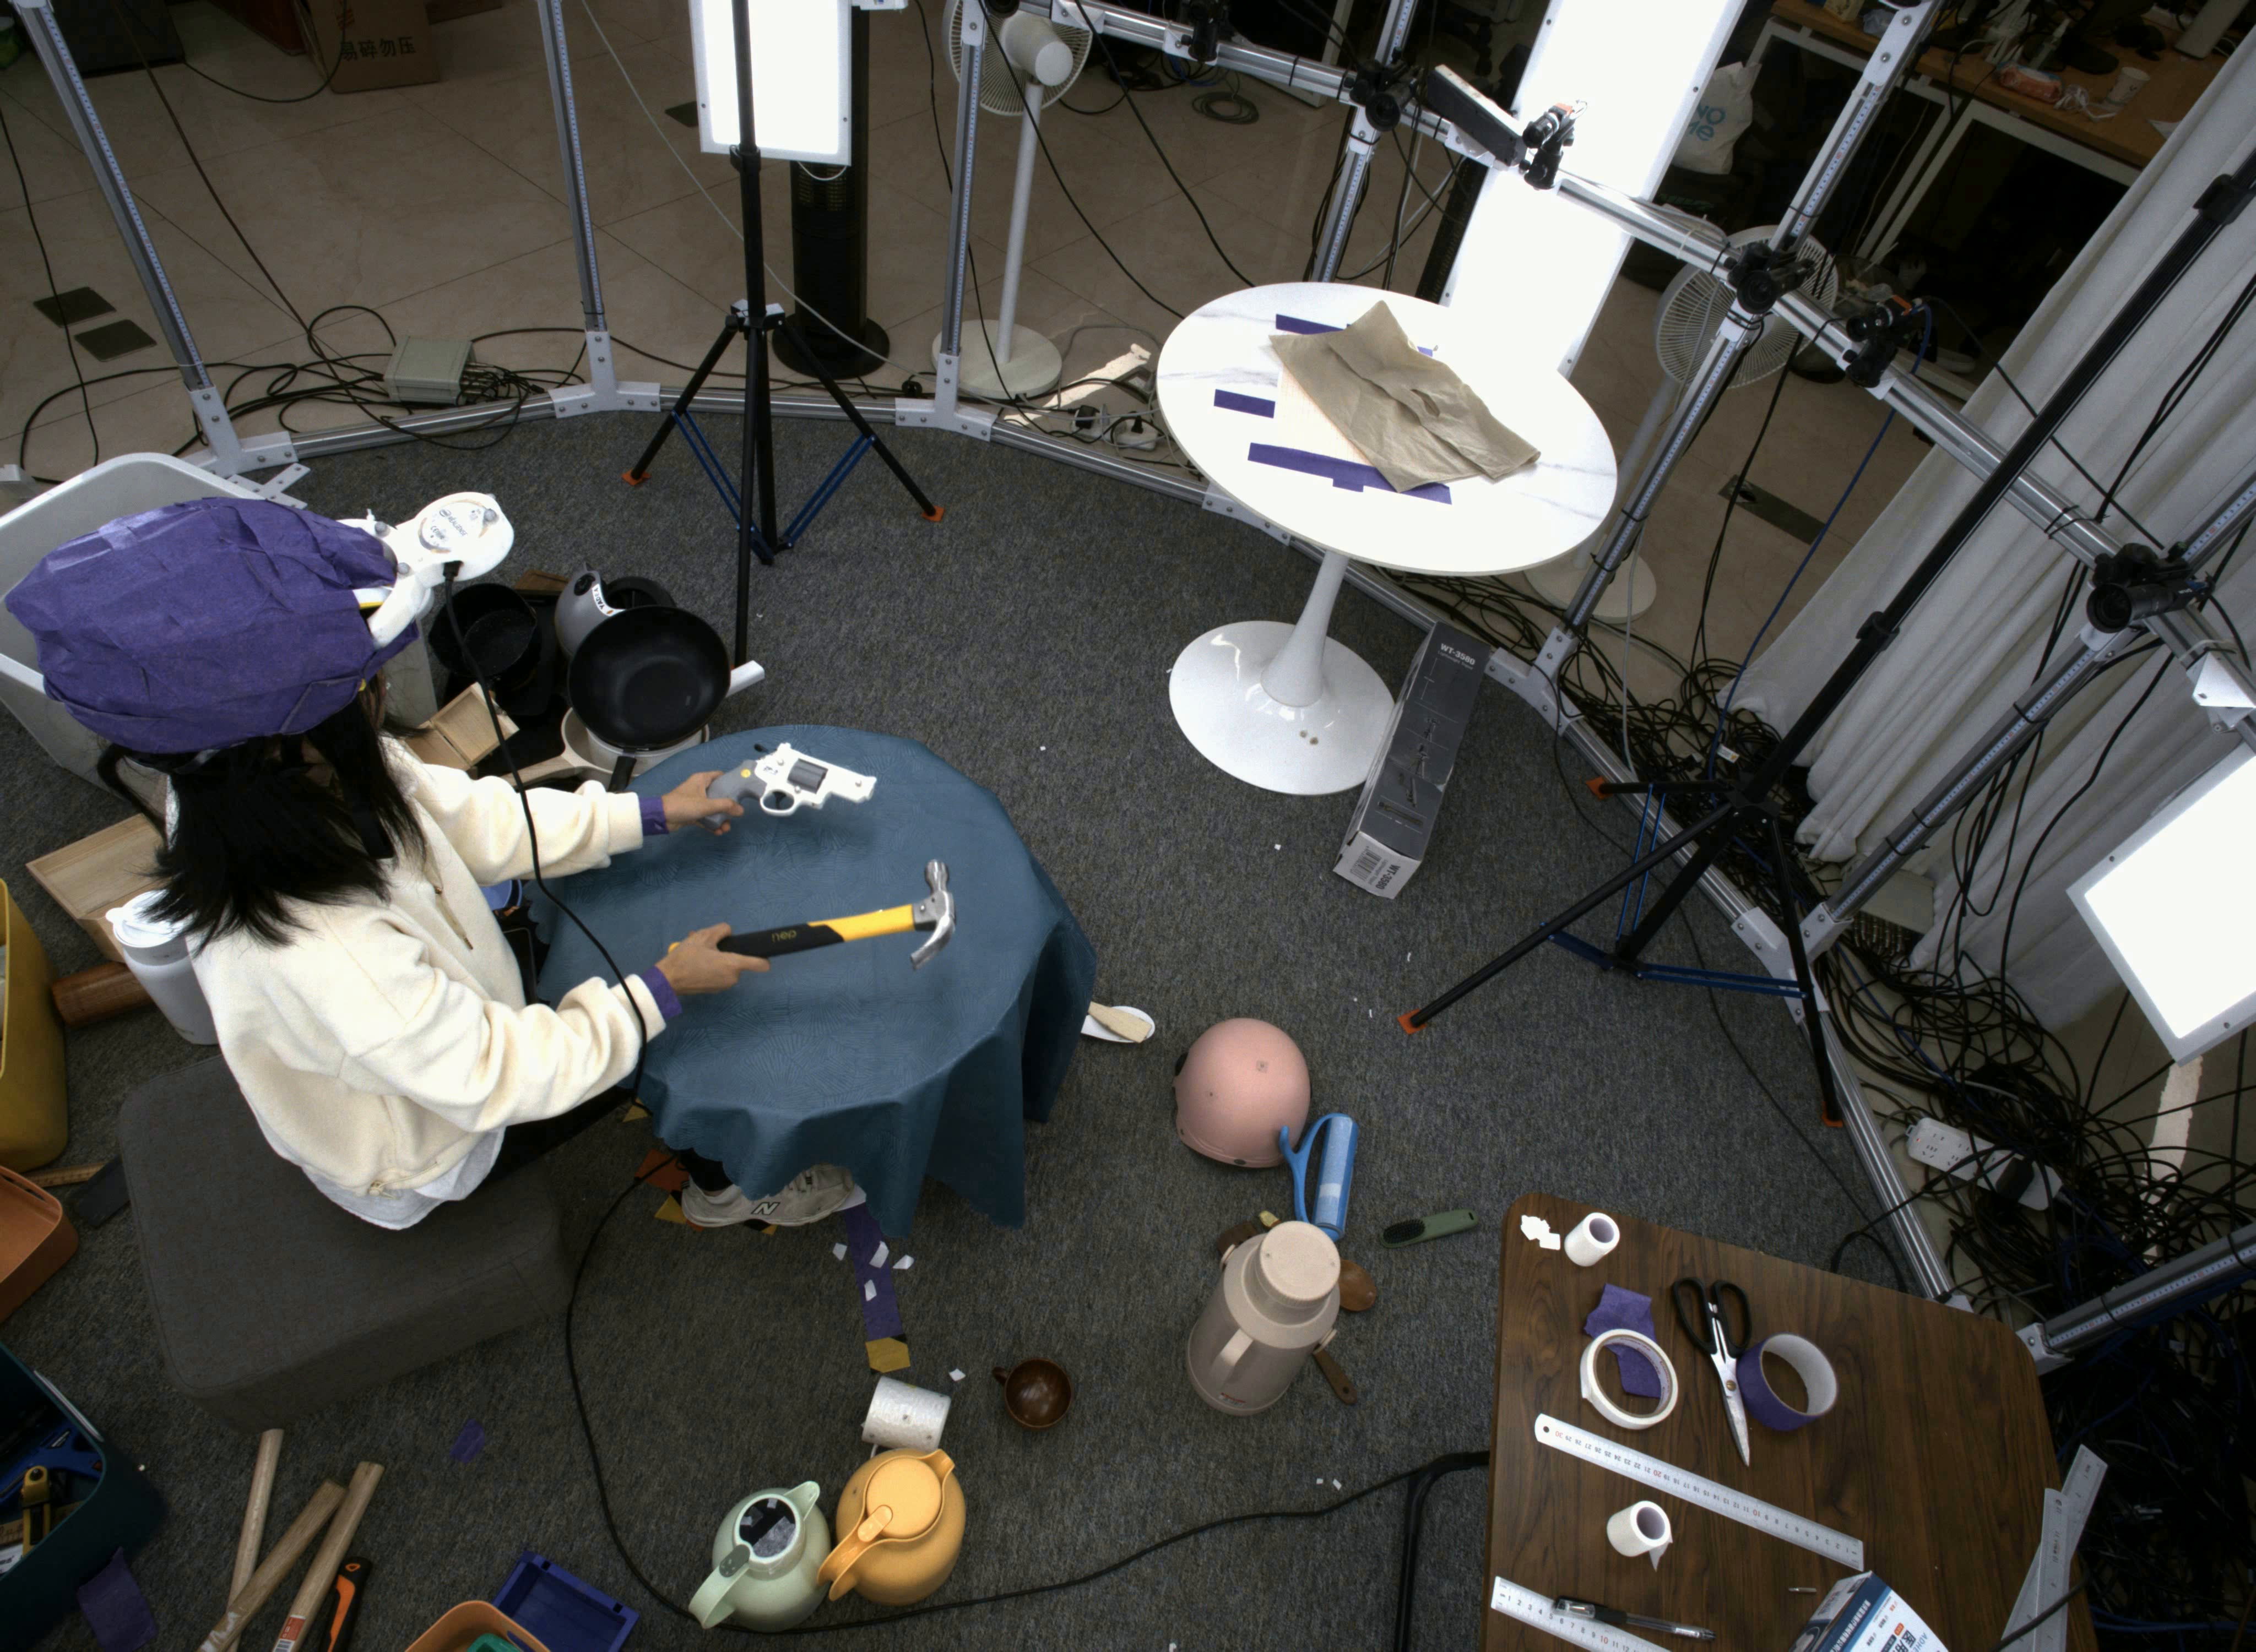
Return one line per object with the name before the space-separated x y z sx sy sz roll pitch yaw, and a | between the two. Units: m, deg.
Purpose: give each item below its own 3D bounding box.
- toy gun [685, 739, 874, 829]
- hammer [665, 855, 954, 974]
toy gun | -0.446 -0.044 1.662 0.207 0.039 0.140 17 60 -1
hammer | -0.370 0.120 1.512 0.337 0.033 0.128 -10 58 -9
